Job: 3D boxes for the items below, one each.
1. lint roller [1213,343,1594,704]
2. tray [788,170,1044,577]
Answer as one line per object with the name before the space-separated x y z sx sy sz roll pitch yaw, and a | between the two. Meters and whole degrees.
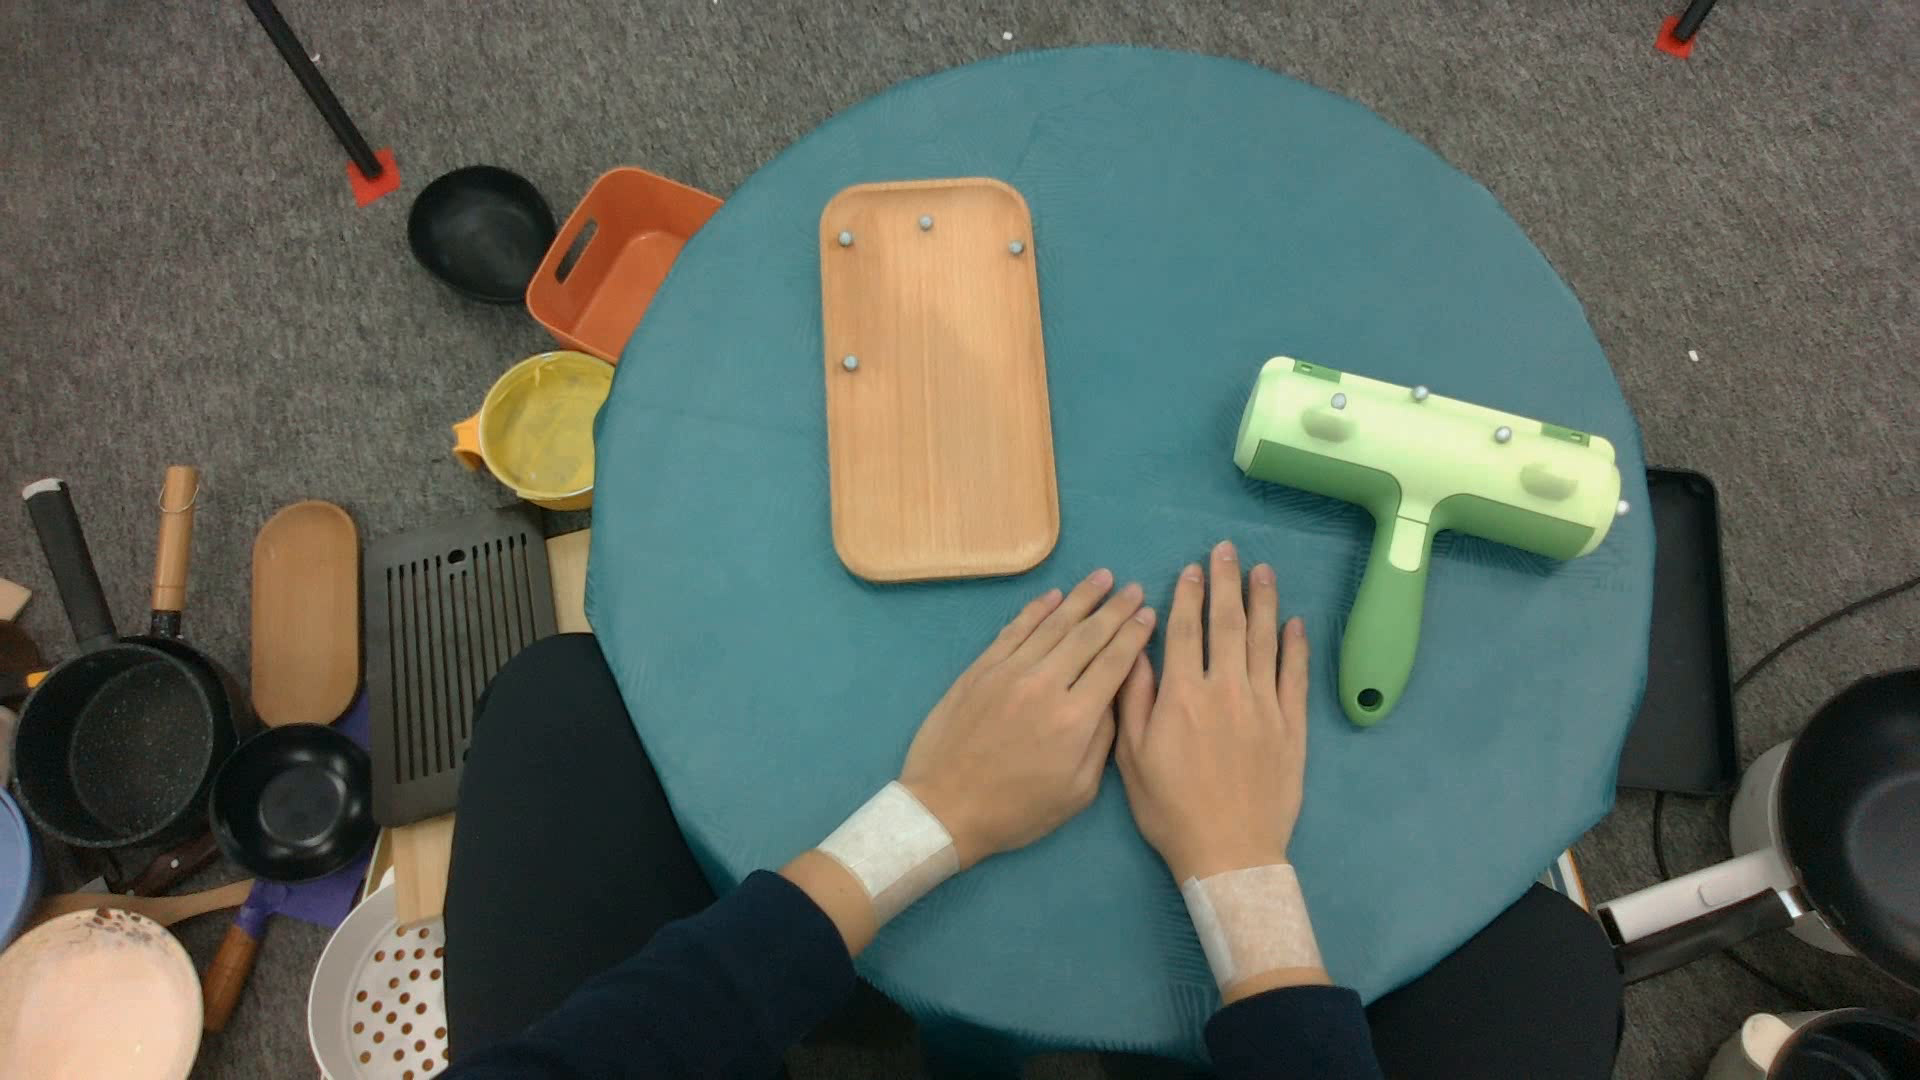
lint roller | 0.228 -0.008 0.727 0.198 0.082 0.184 13 65 4
tray | -0.028 -0.100 0.792 0.130 0.023 0.251 -6 72 -1
